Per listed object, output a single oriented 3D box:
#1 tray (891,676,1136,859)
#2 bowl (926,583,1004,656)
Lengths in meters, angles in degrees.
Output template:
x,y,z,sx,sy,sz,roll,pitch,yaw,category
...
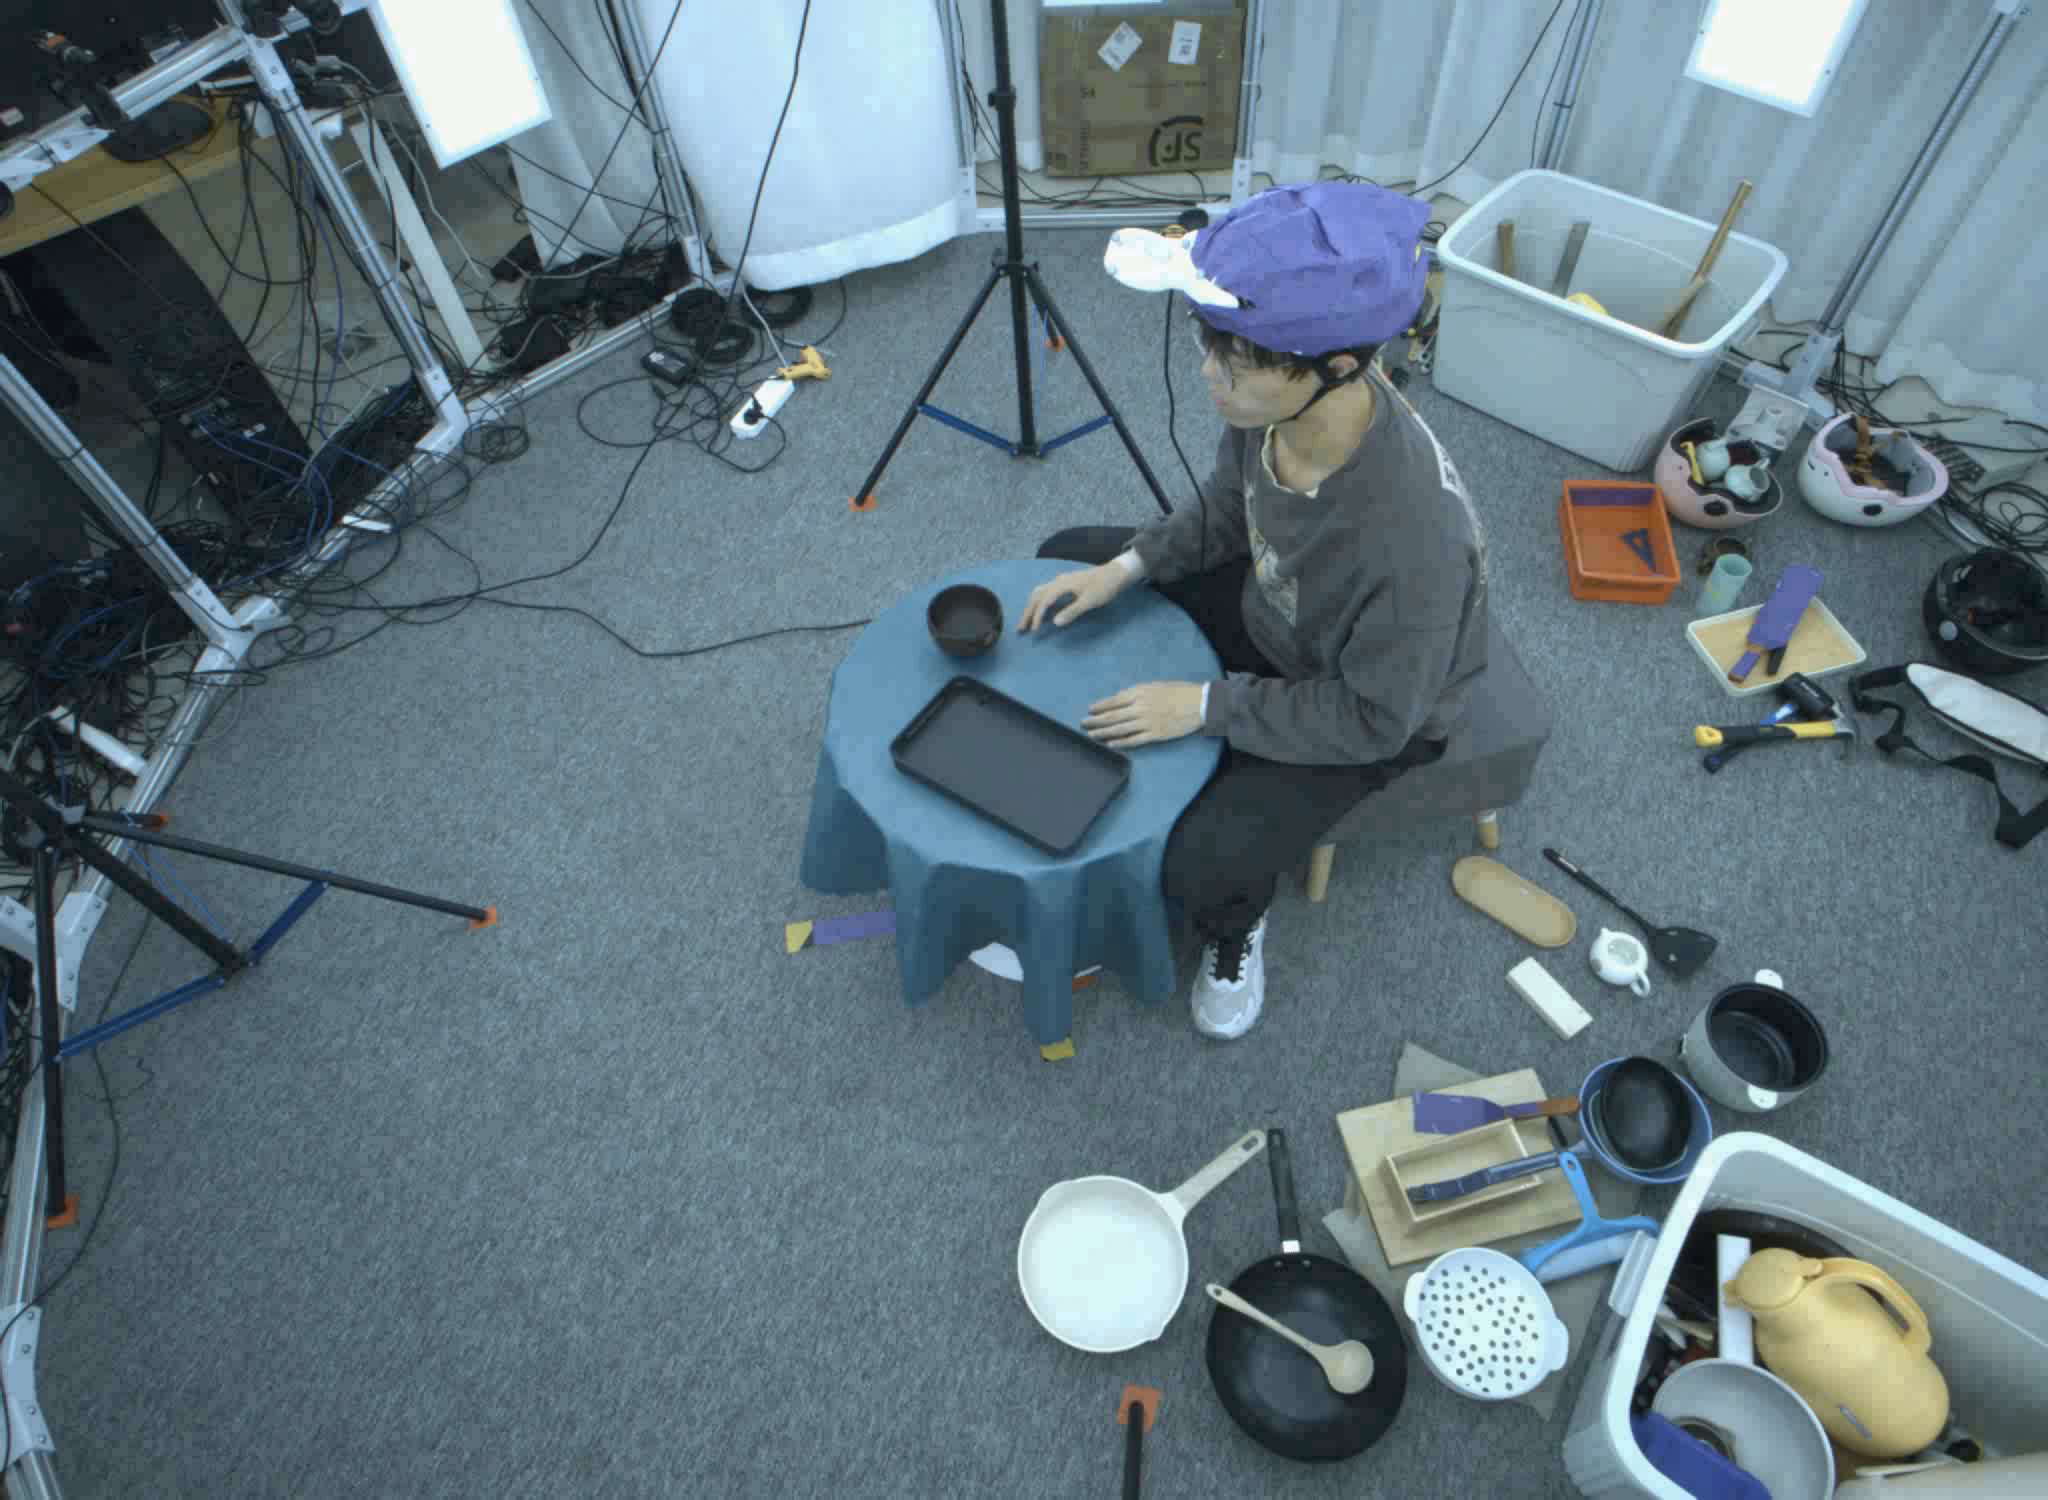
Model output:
x,y,z,sx,sy,sz,roll,pitch,yaw,category
-0.016,0.021,1.749,0.313,0.037,0.185,26,59,20,tray
-0.090,-0.192,1.882,0.118,0.070,0.117,0,53,1,bowl
